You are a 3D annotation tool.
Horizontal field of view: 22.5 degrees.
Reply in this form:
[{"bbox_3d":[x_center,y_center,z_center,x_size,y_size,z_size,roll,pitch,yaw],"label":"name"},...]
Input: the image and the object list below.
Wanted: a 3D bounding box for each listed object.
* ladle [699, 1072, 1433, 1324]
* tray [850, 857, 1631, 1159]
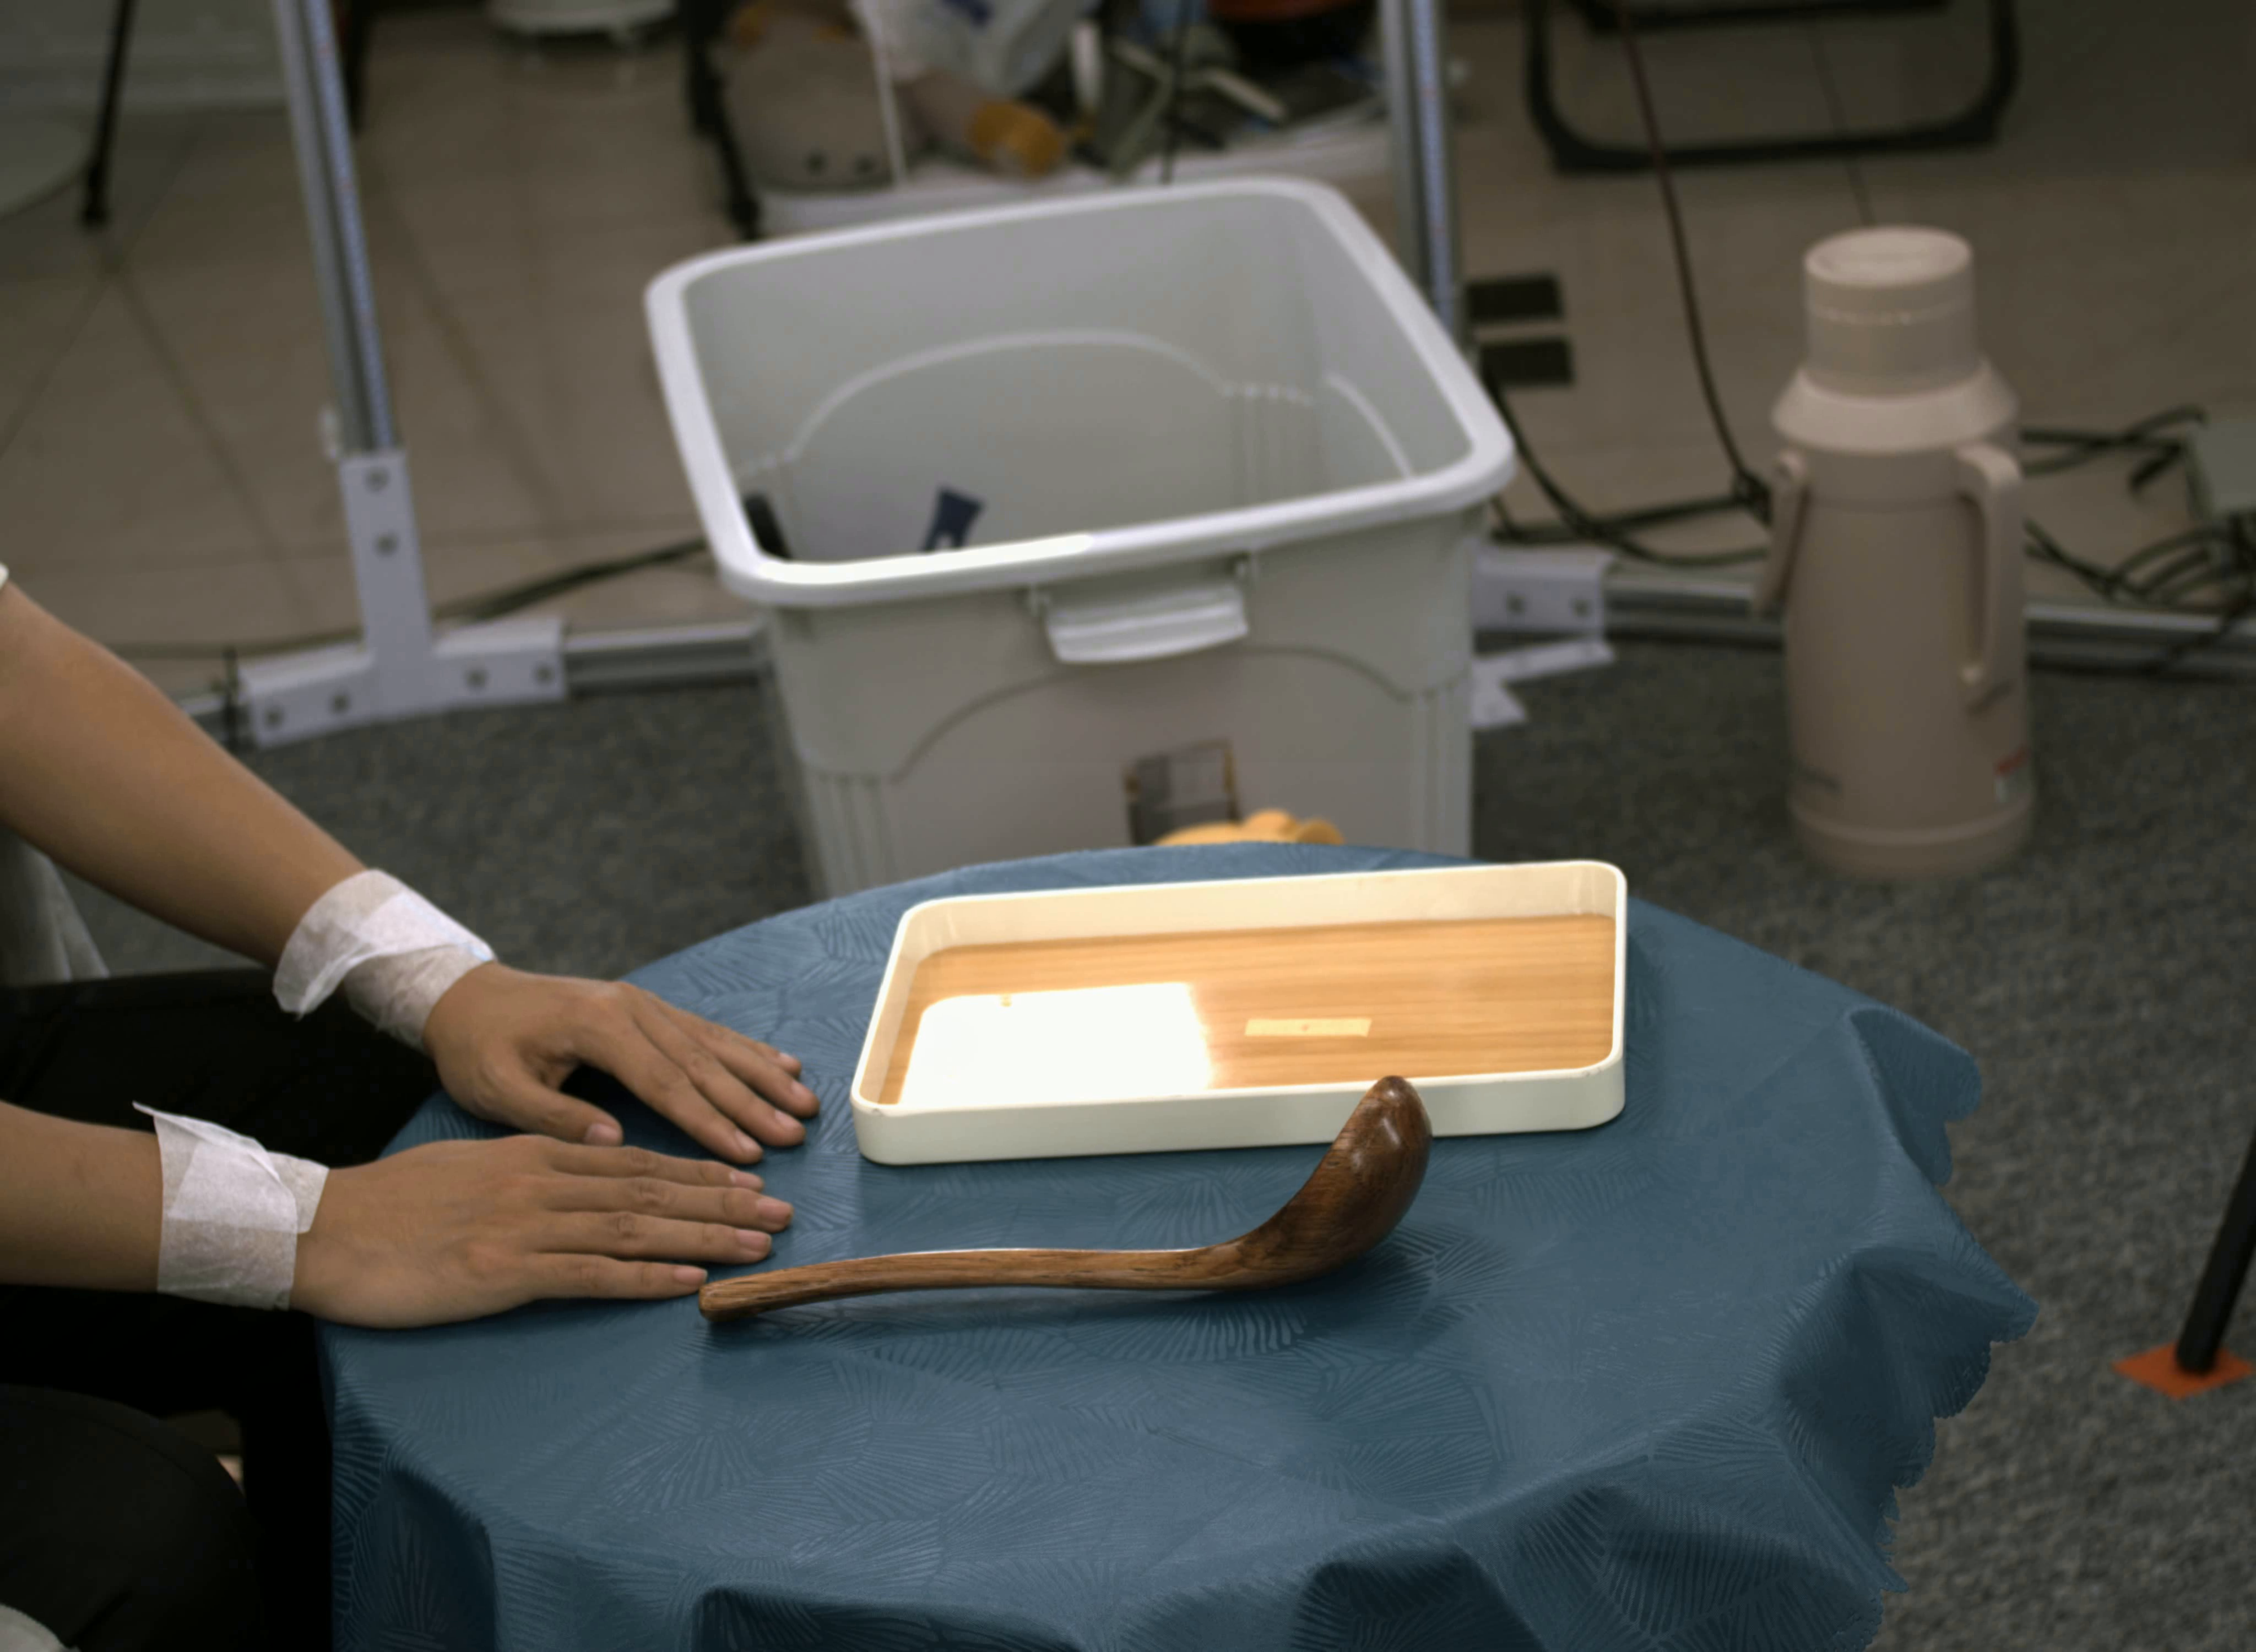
[{"bbox_3d":[-0.024,0.136,2.079,0.273,0.076,0.082,-4,-13,8],"label":"ladle"},{"bbox_3d":[0.048,0.071,2.250,0.300,0.028,0.189,-3,25,8],"label":"tray"}]
